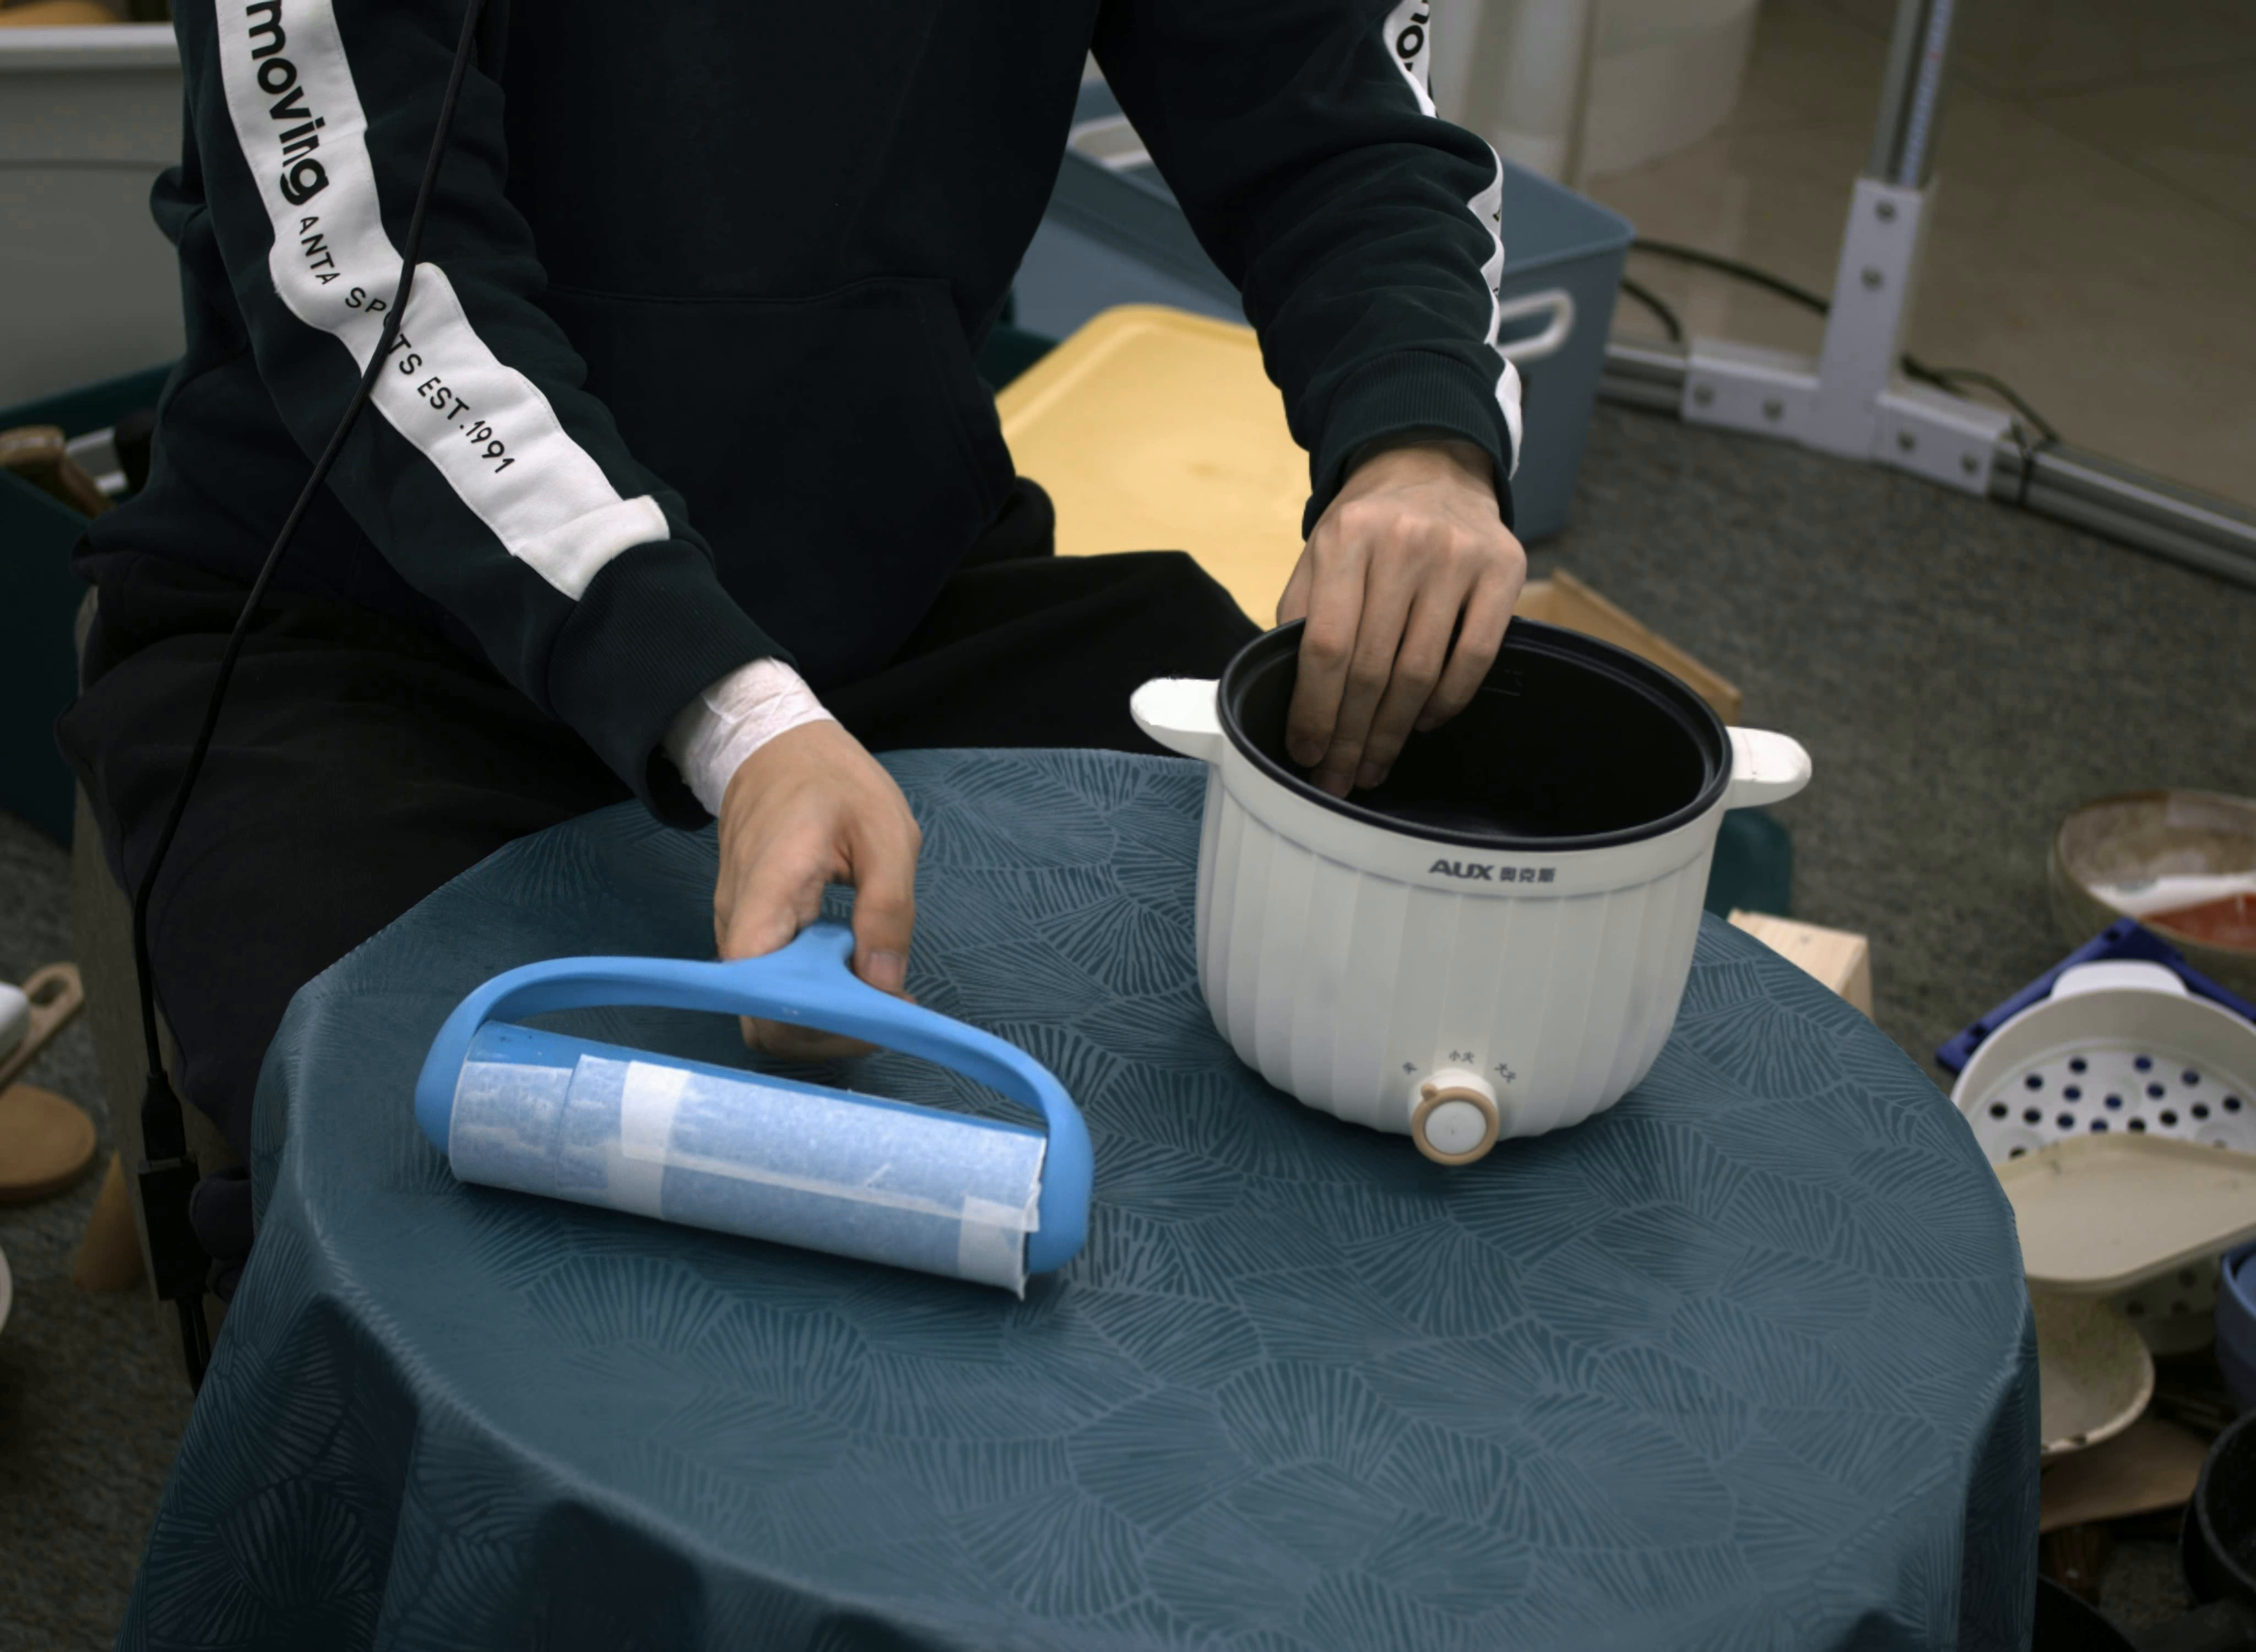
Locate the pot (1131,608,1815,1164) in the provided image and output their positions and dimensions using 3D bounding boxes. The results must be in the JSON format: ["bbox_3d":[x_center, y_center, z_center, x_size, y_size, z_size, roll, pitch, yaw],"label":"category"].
[{"bbox_3d":[0.115,0.024,1.868,0.239,0.142,0.191,3,24,-4],"label":"pot"}]

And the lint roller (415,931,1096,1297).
[{"bbox_3d":[-0.113,0.075,1.789,0.229,0.067,0.181,8,36,7],"label":"lint roller"}]
